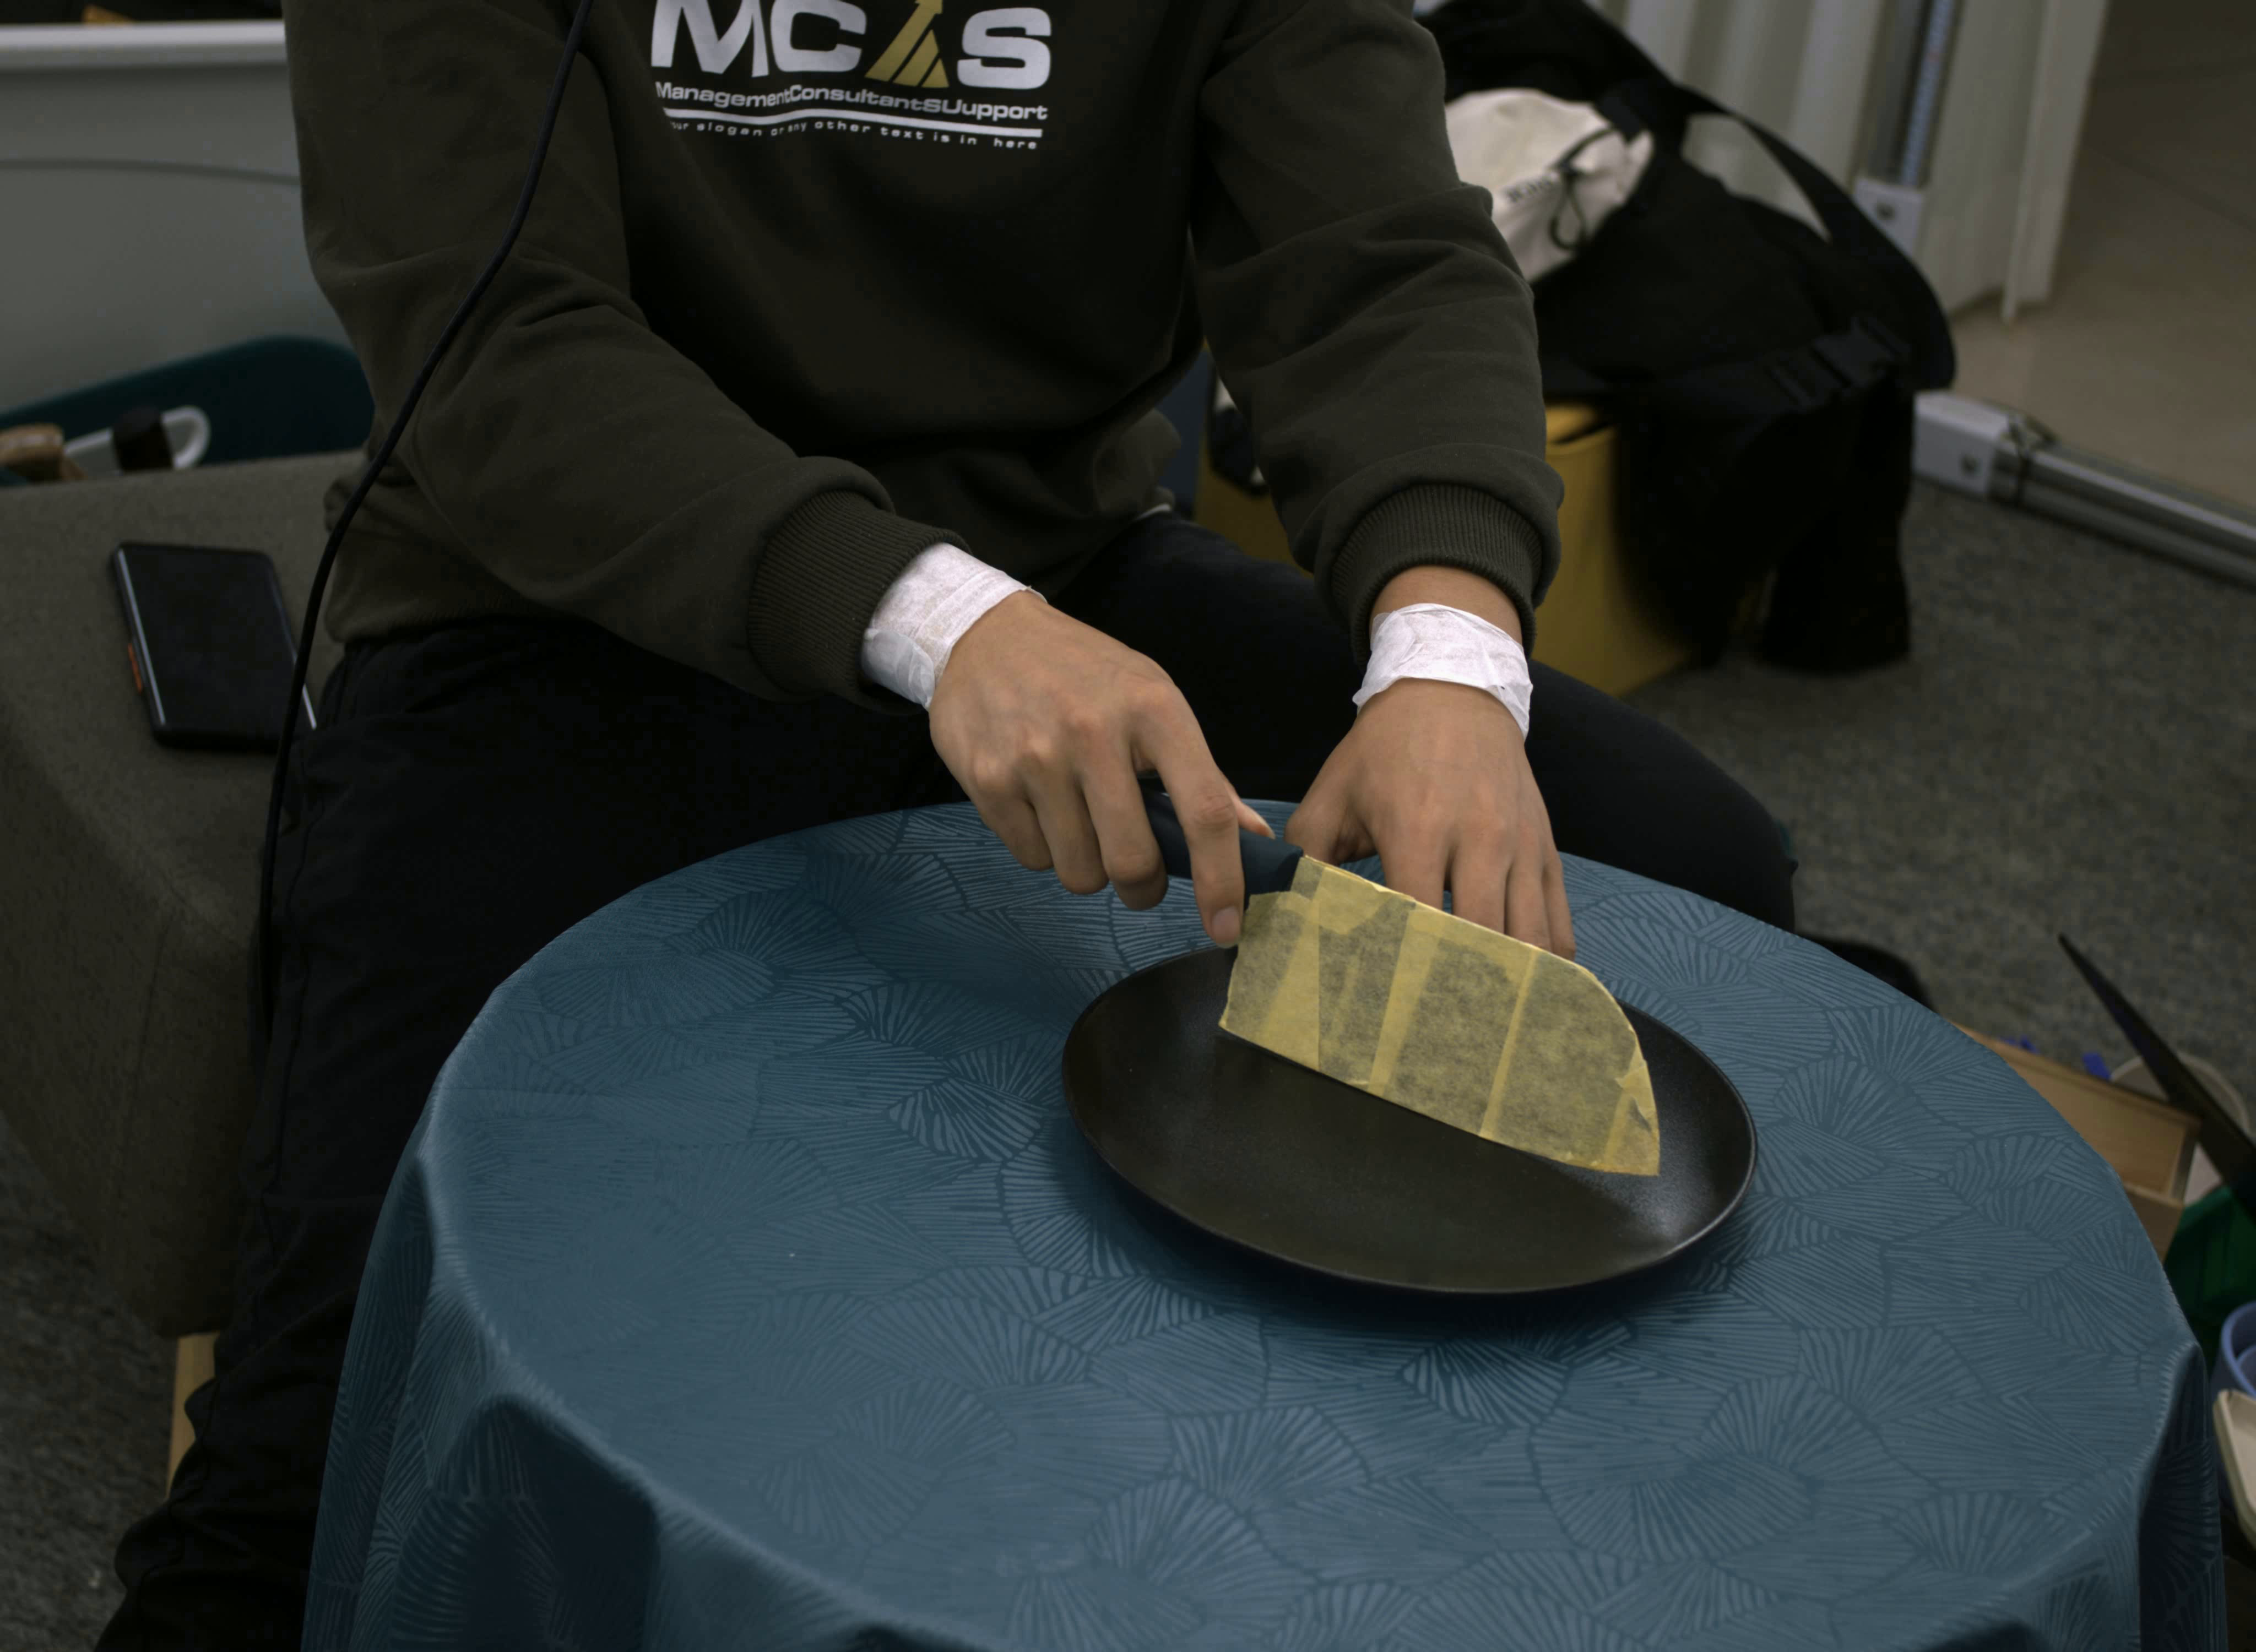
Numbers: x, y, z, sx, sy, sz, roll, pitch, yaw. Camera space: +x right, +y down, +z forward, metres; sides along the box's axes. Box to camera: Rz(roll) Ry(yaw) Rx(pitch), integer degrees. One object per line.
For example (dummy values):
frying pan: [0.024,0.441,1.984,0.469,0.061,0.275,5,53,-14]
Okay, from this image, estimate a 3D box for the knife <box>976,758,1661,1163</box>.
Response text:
knife: [0.063,0.045,1.871,0.291,0.081,0.027,25,17,26]

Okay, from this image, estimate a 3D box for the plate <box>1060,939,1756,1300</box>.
plate: [0.095,0.104,1.840,0.243,0.023,0.246,5,27,-3]
